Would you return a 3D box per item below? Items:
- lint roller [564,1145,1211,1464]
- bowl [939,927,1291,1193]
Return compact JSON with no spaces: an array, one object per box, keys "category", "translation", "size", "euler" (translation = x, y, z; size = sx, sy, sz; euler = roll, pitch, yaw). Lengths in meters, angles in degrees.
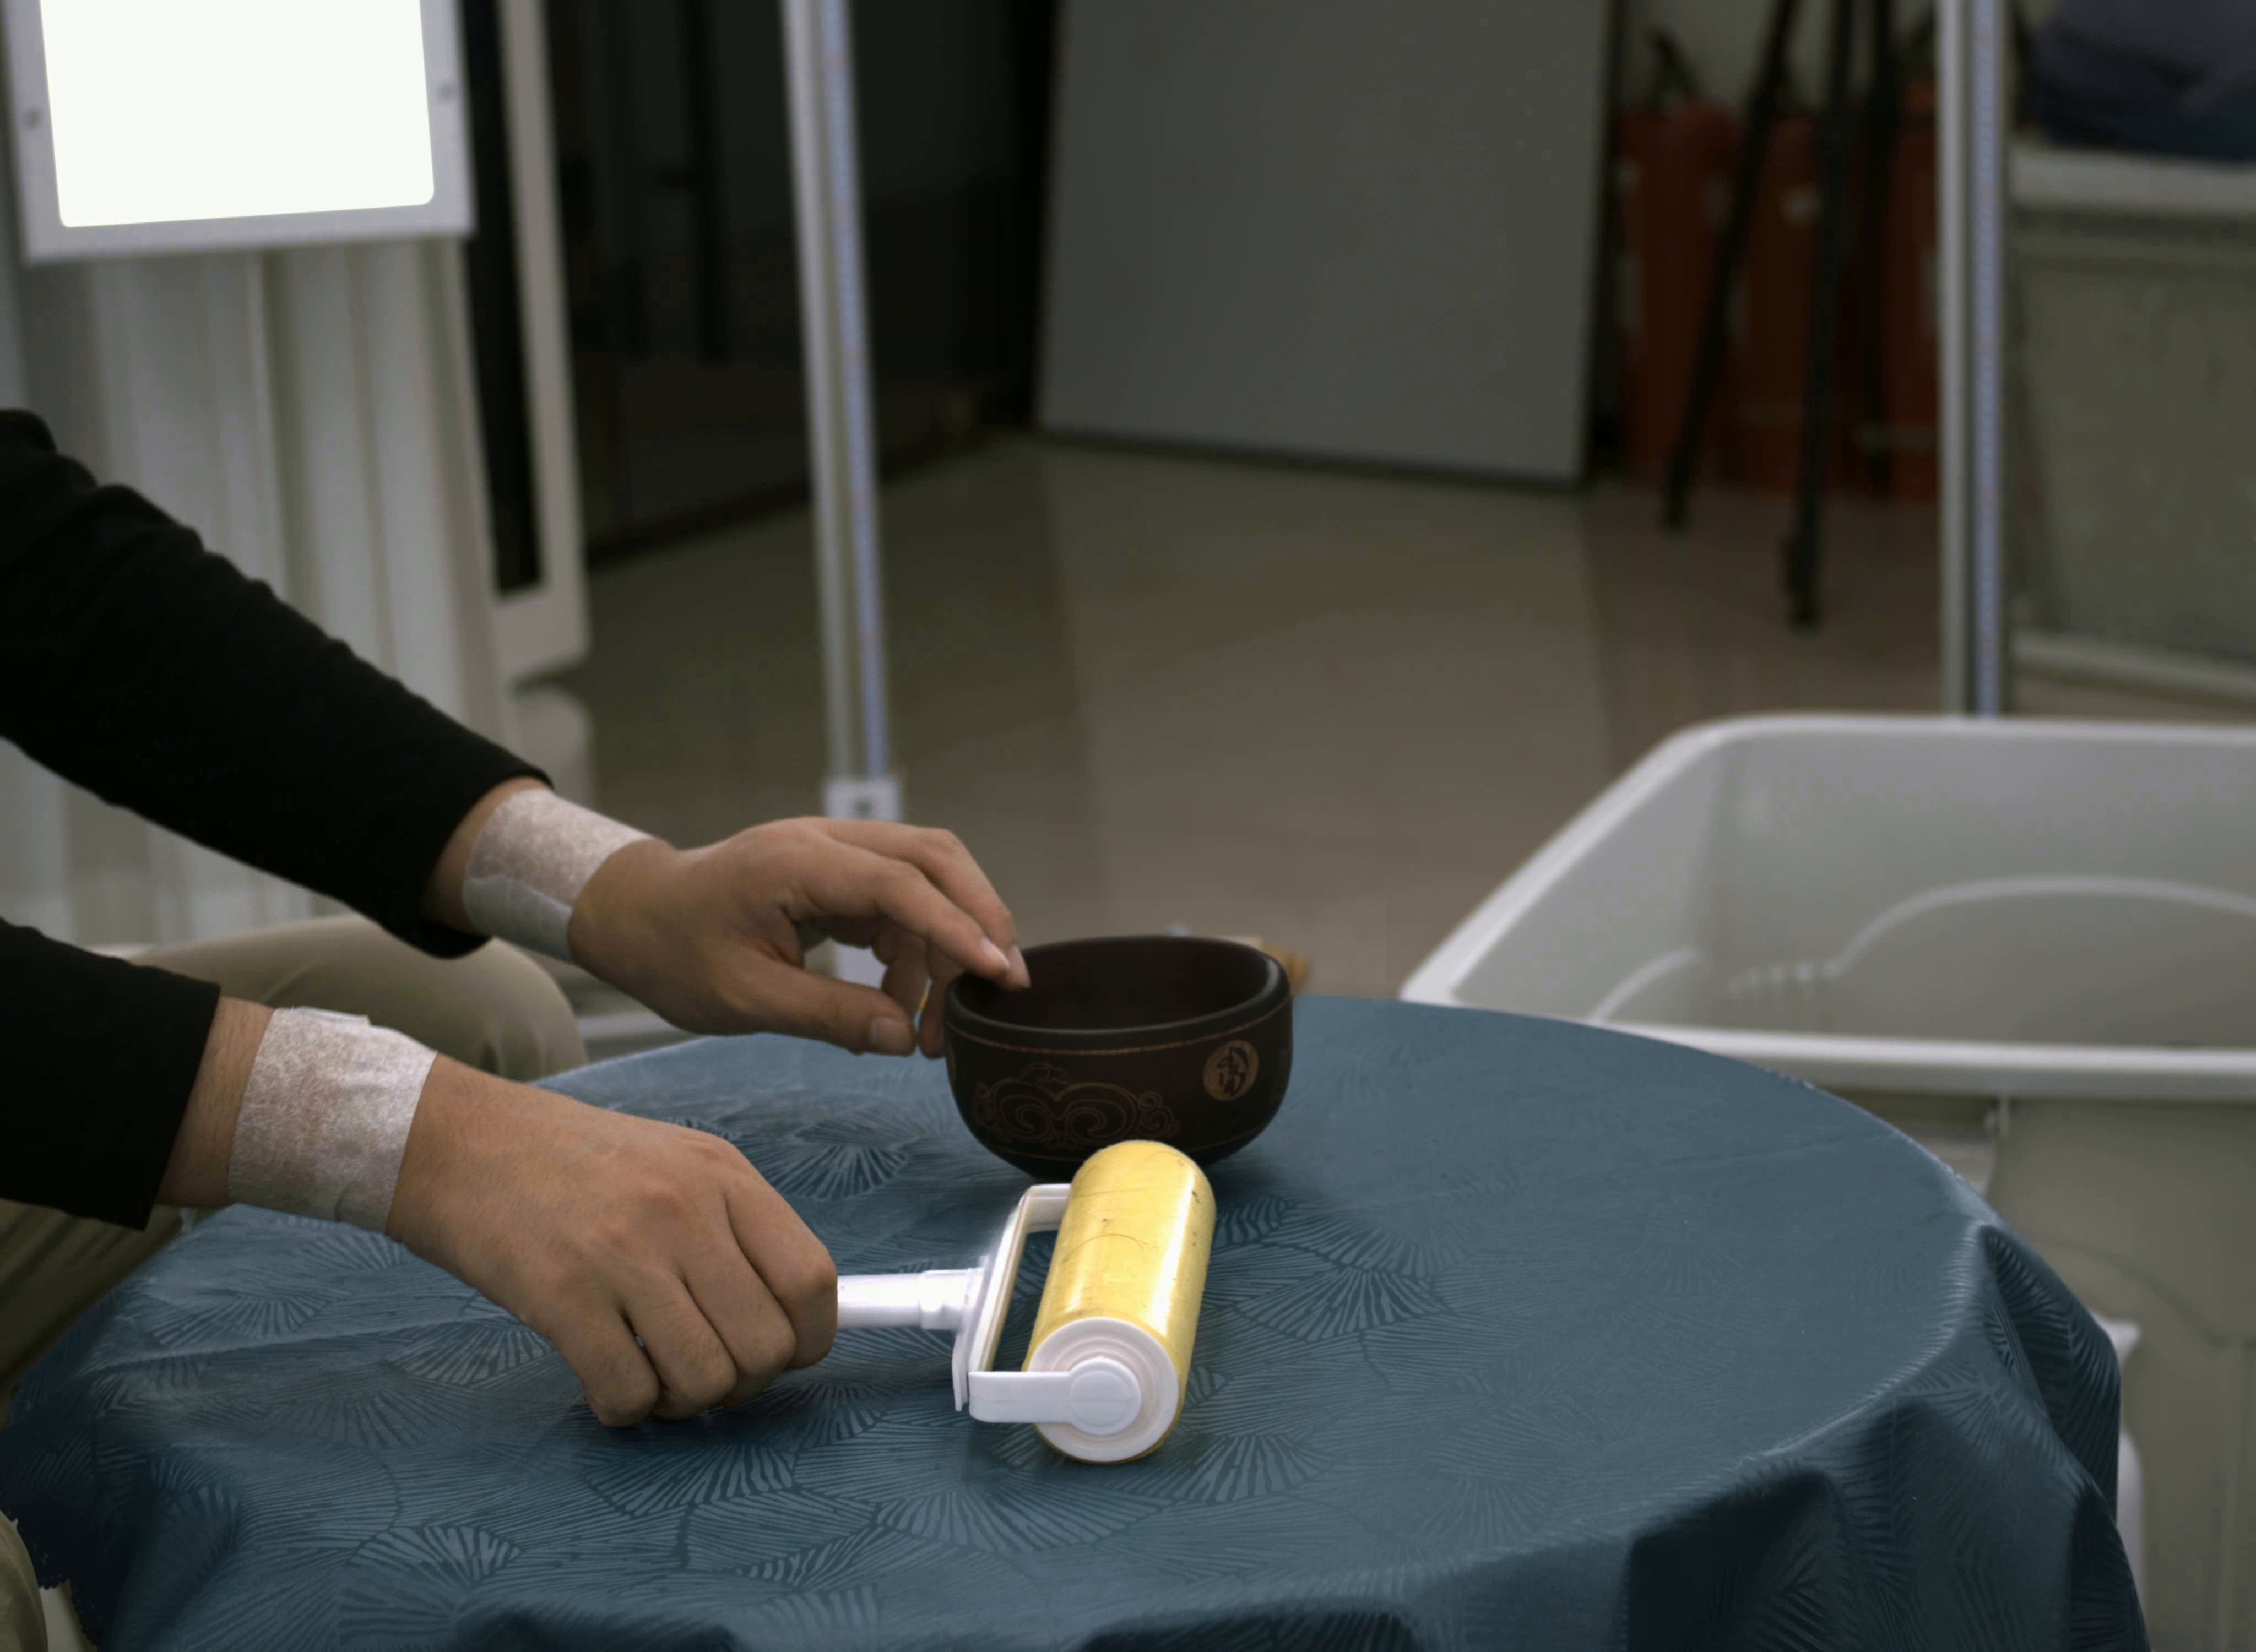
[{"category":"lint roller","translation":[-0.071,0.134,1.601],"size":[0.190,0.052,0.174],"euler":[6,14,2]},{"category":"bowl","translation":[-0.003,0.081,1.774],"size":[0.116,0.070,0.118],"euler":[-3,13,0]}]
